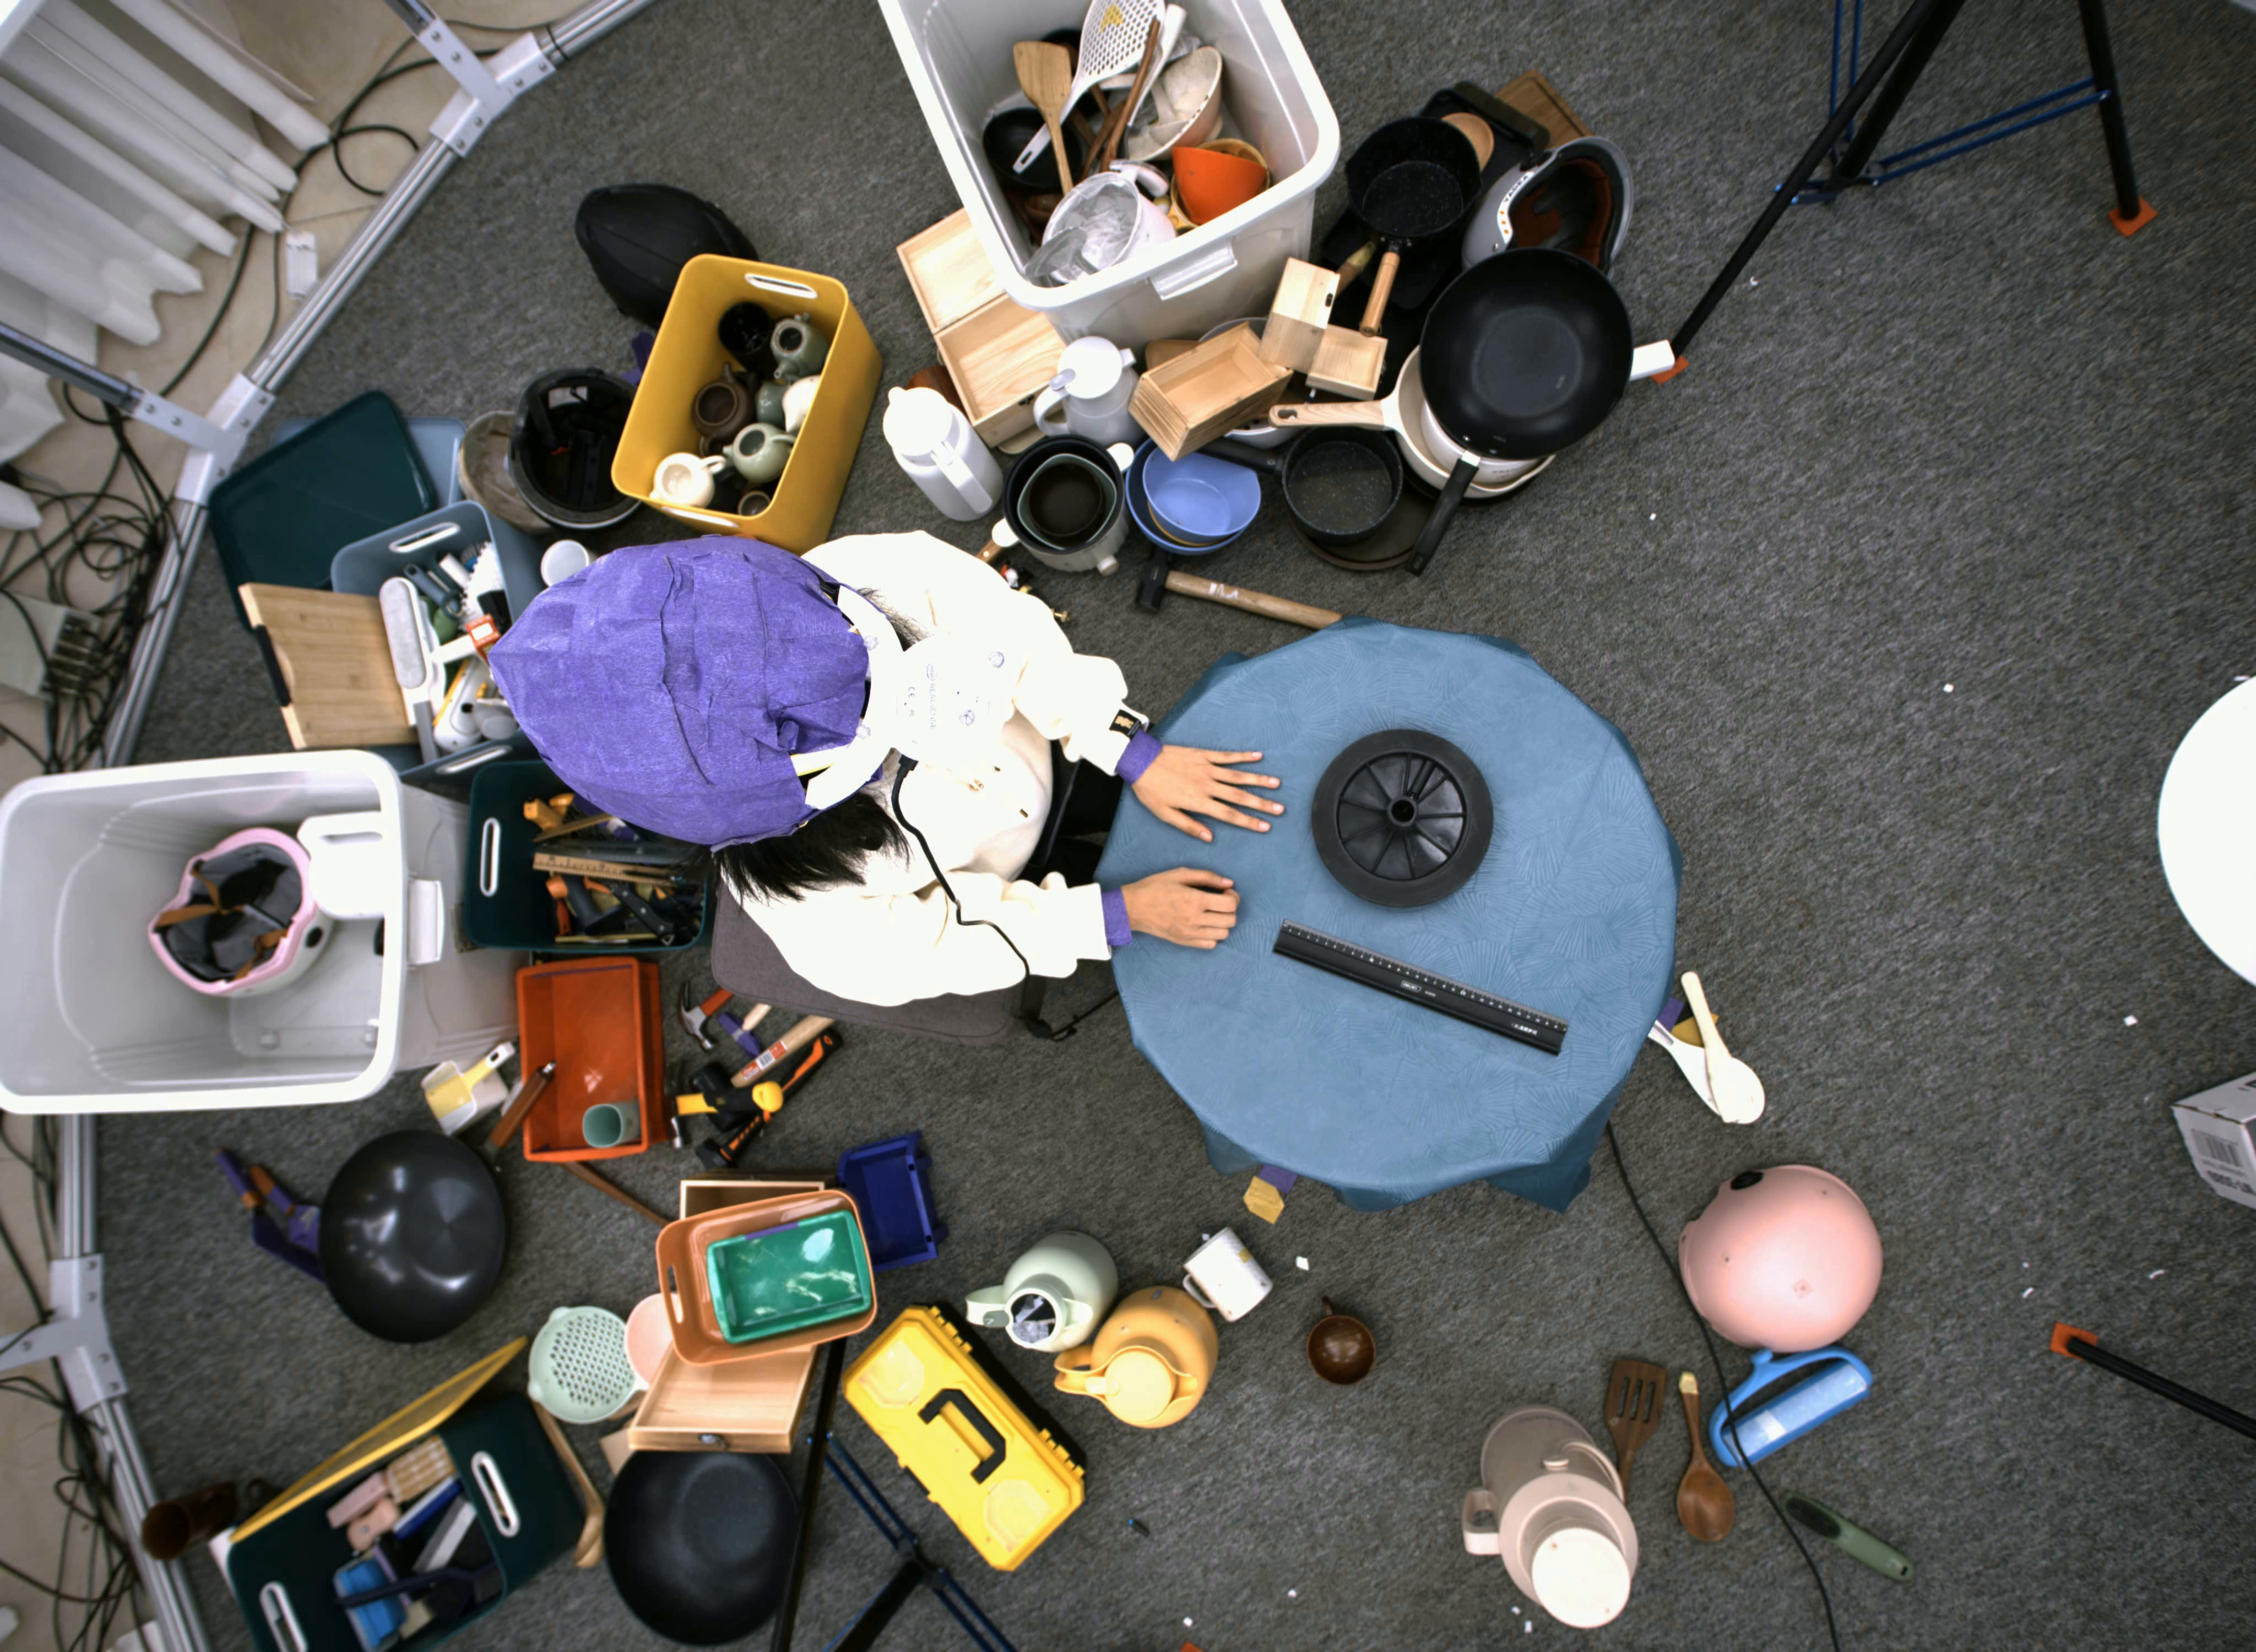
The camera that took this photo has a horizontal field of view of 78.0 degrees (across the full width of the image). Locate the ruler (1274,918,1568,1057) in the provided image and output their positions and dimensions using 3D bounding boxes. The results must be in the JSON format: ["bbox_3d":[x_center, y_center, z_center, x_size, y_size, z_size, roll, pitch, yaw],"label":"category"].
[{"bbox_3d":[0.304,0.165,1.441,0.312,0.017,0.039,20,87,11],"label":"ruler"}]

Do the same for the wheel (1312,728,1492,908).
[{"bbox_3d":[0.283,-0.013,1.424,0.188,0.079,0.189,5,87,11],"label":"wheel"}]
